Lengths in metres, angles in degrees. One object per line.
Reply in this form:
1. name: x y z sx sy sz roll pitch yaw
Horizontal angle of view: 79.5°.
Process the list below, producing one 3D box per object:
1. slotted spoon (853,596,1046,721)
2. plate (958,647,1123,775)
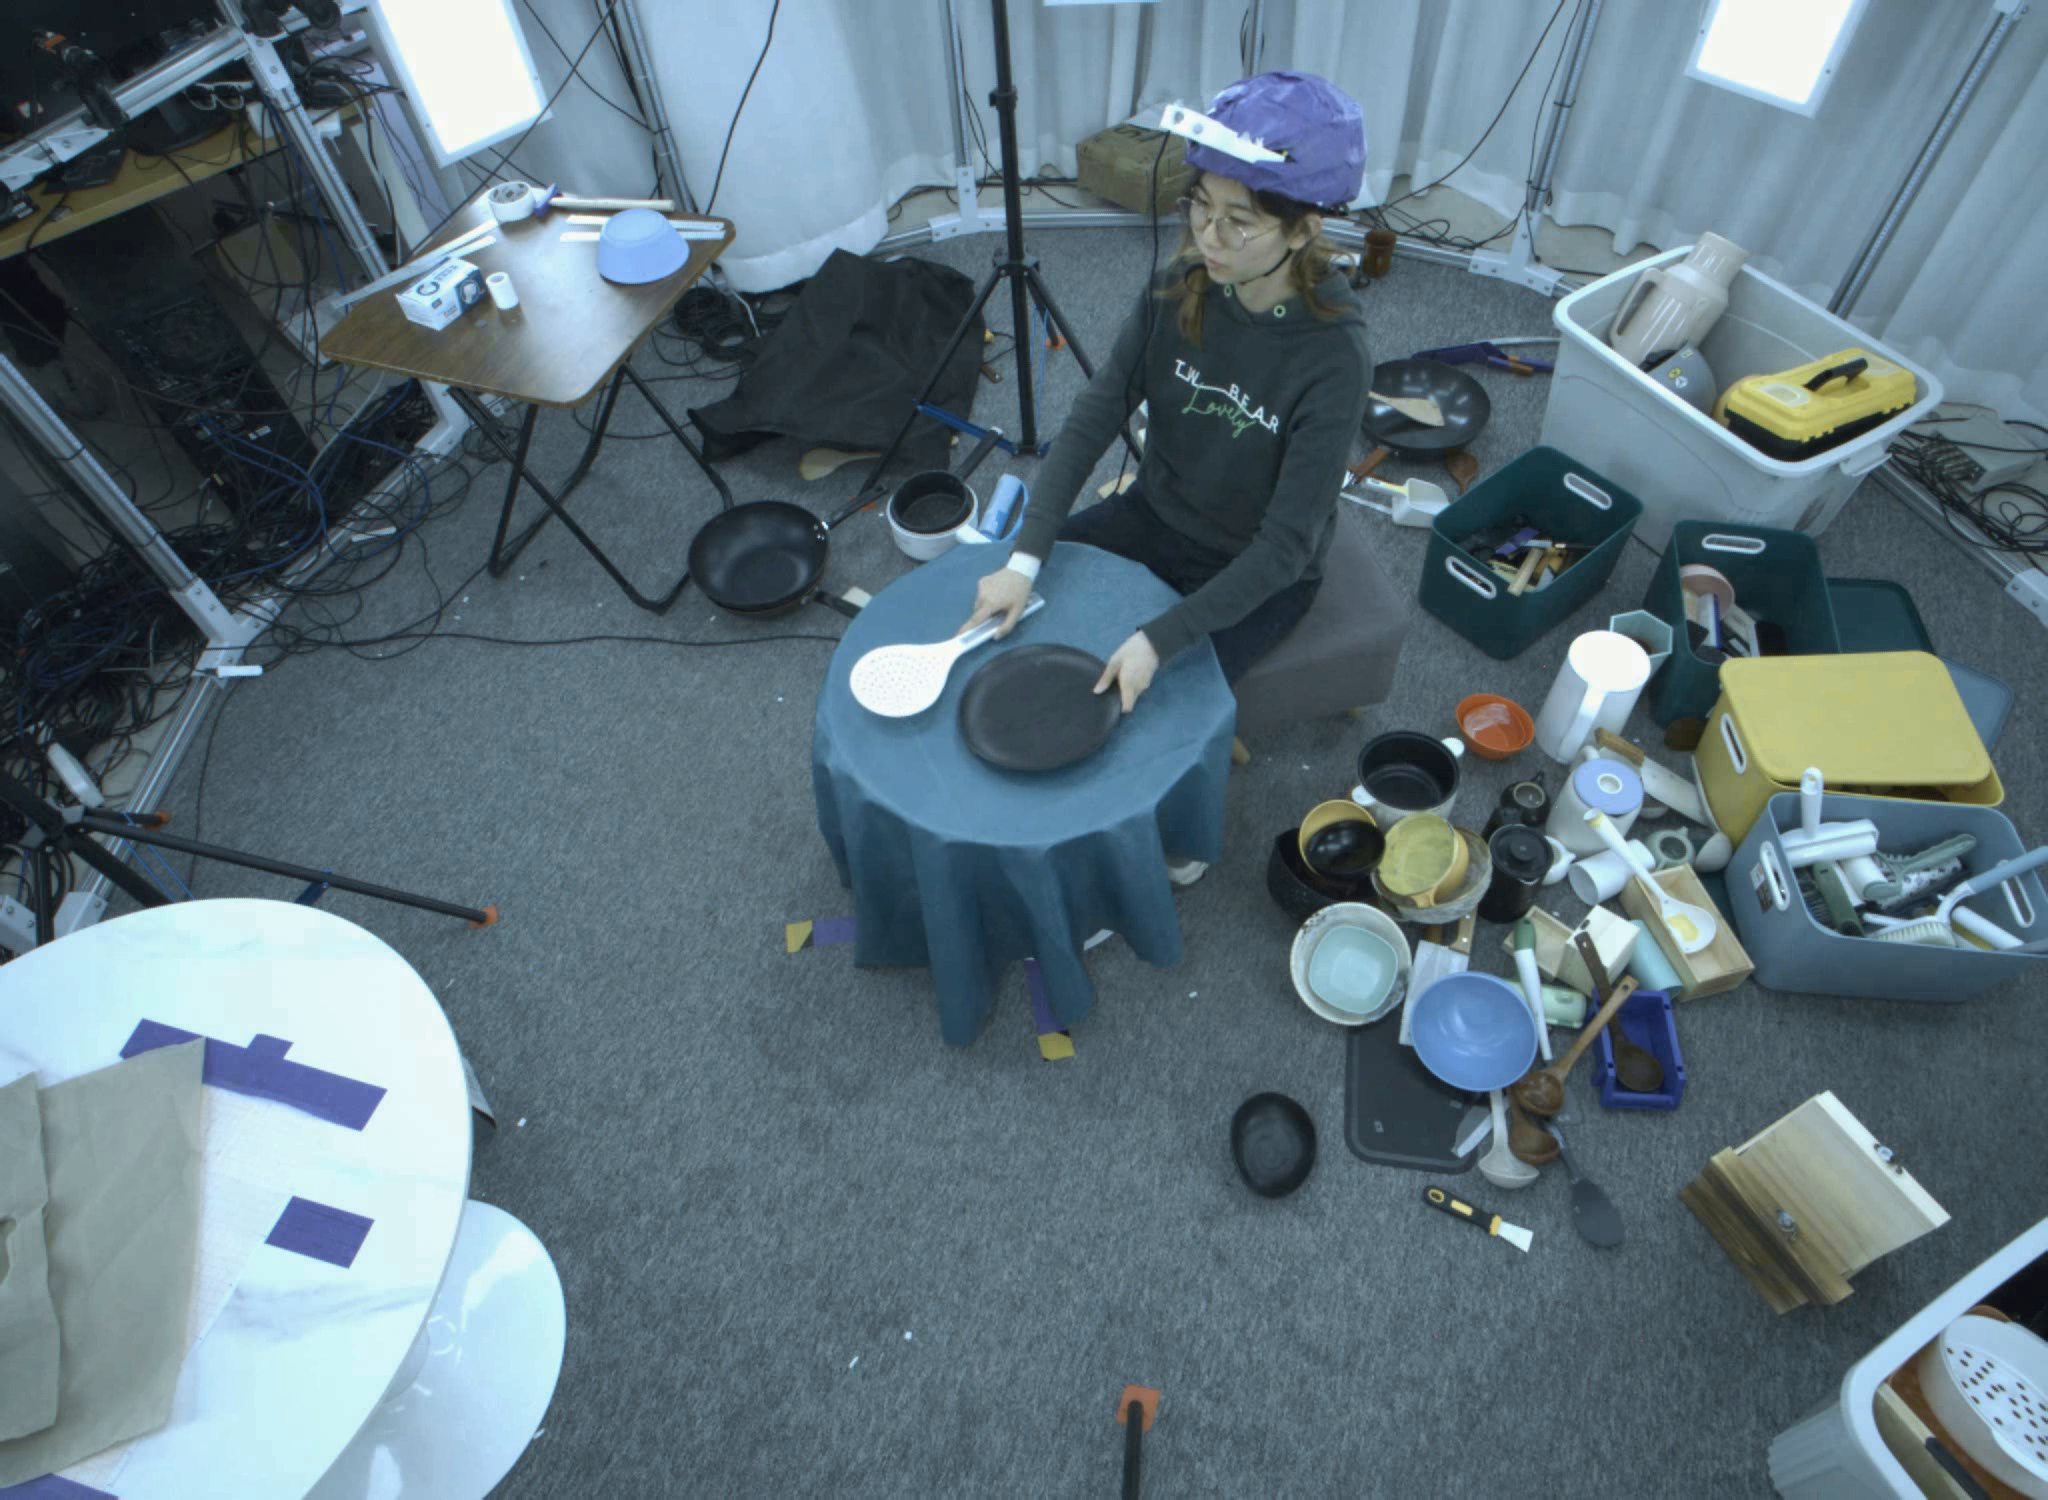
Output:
1. slotted spoon: -0.105 -0.149 1.877 0.352 0.046 0.134 -35 67 -22
2. plate: 0.025 -0.056 1.813 0.243 0.024 0.242 -3 53 5
